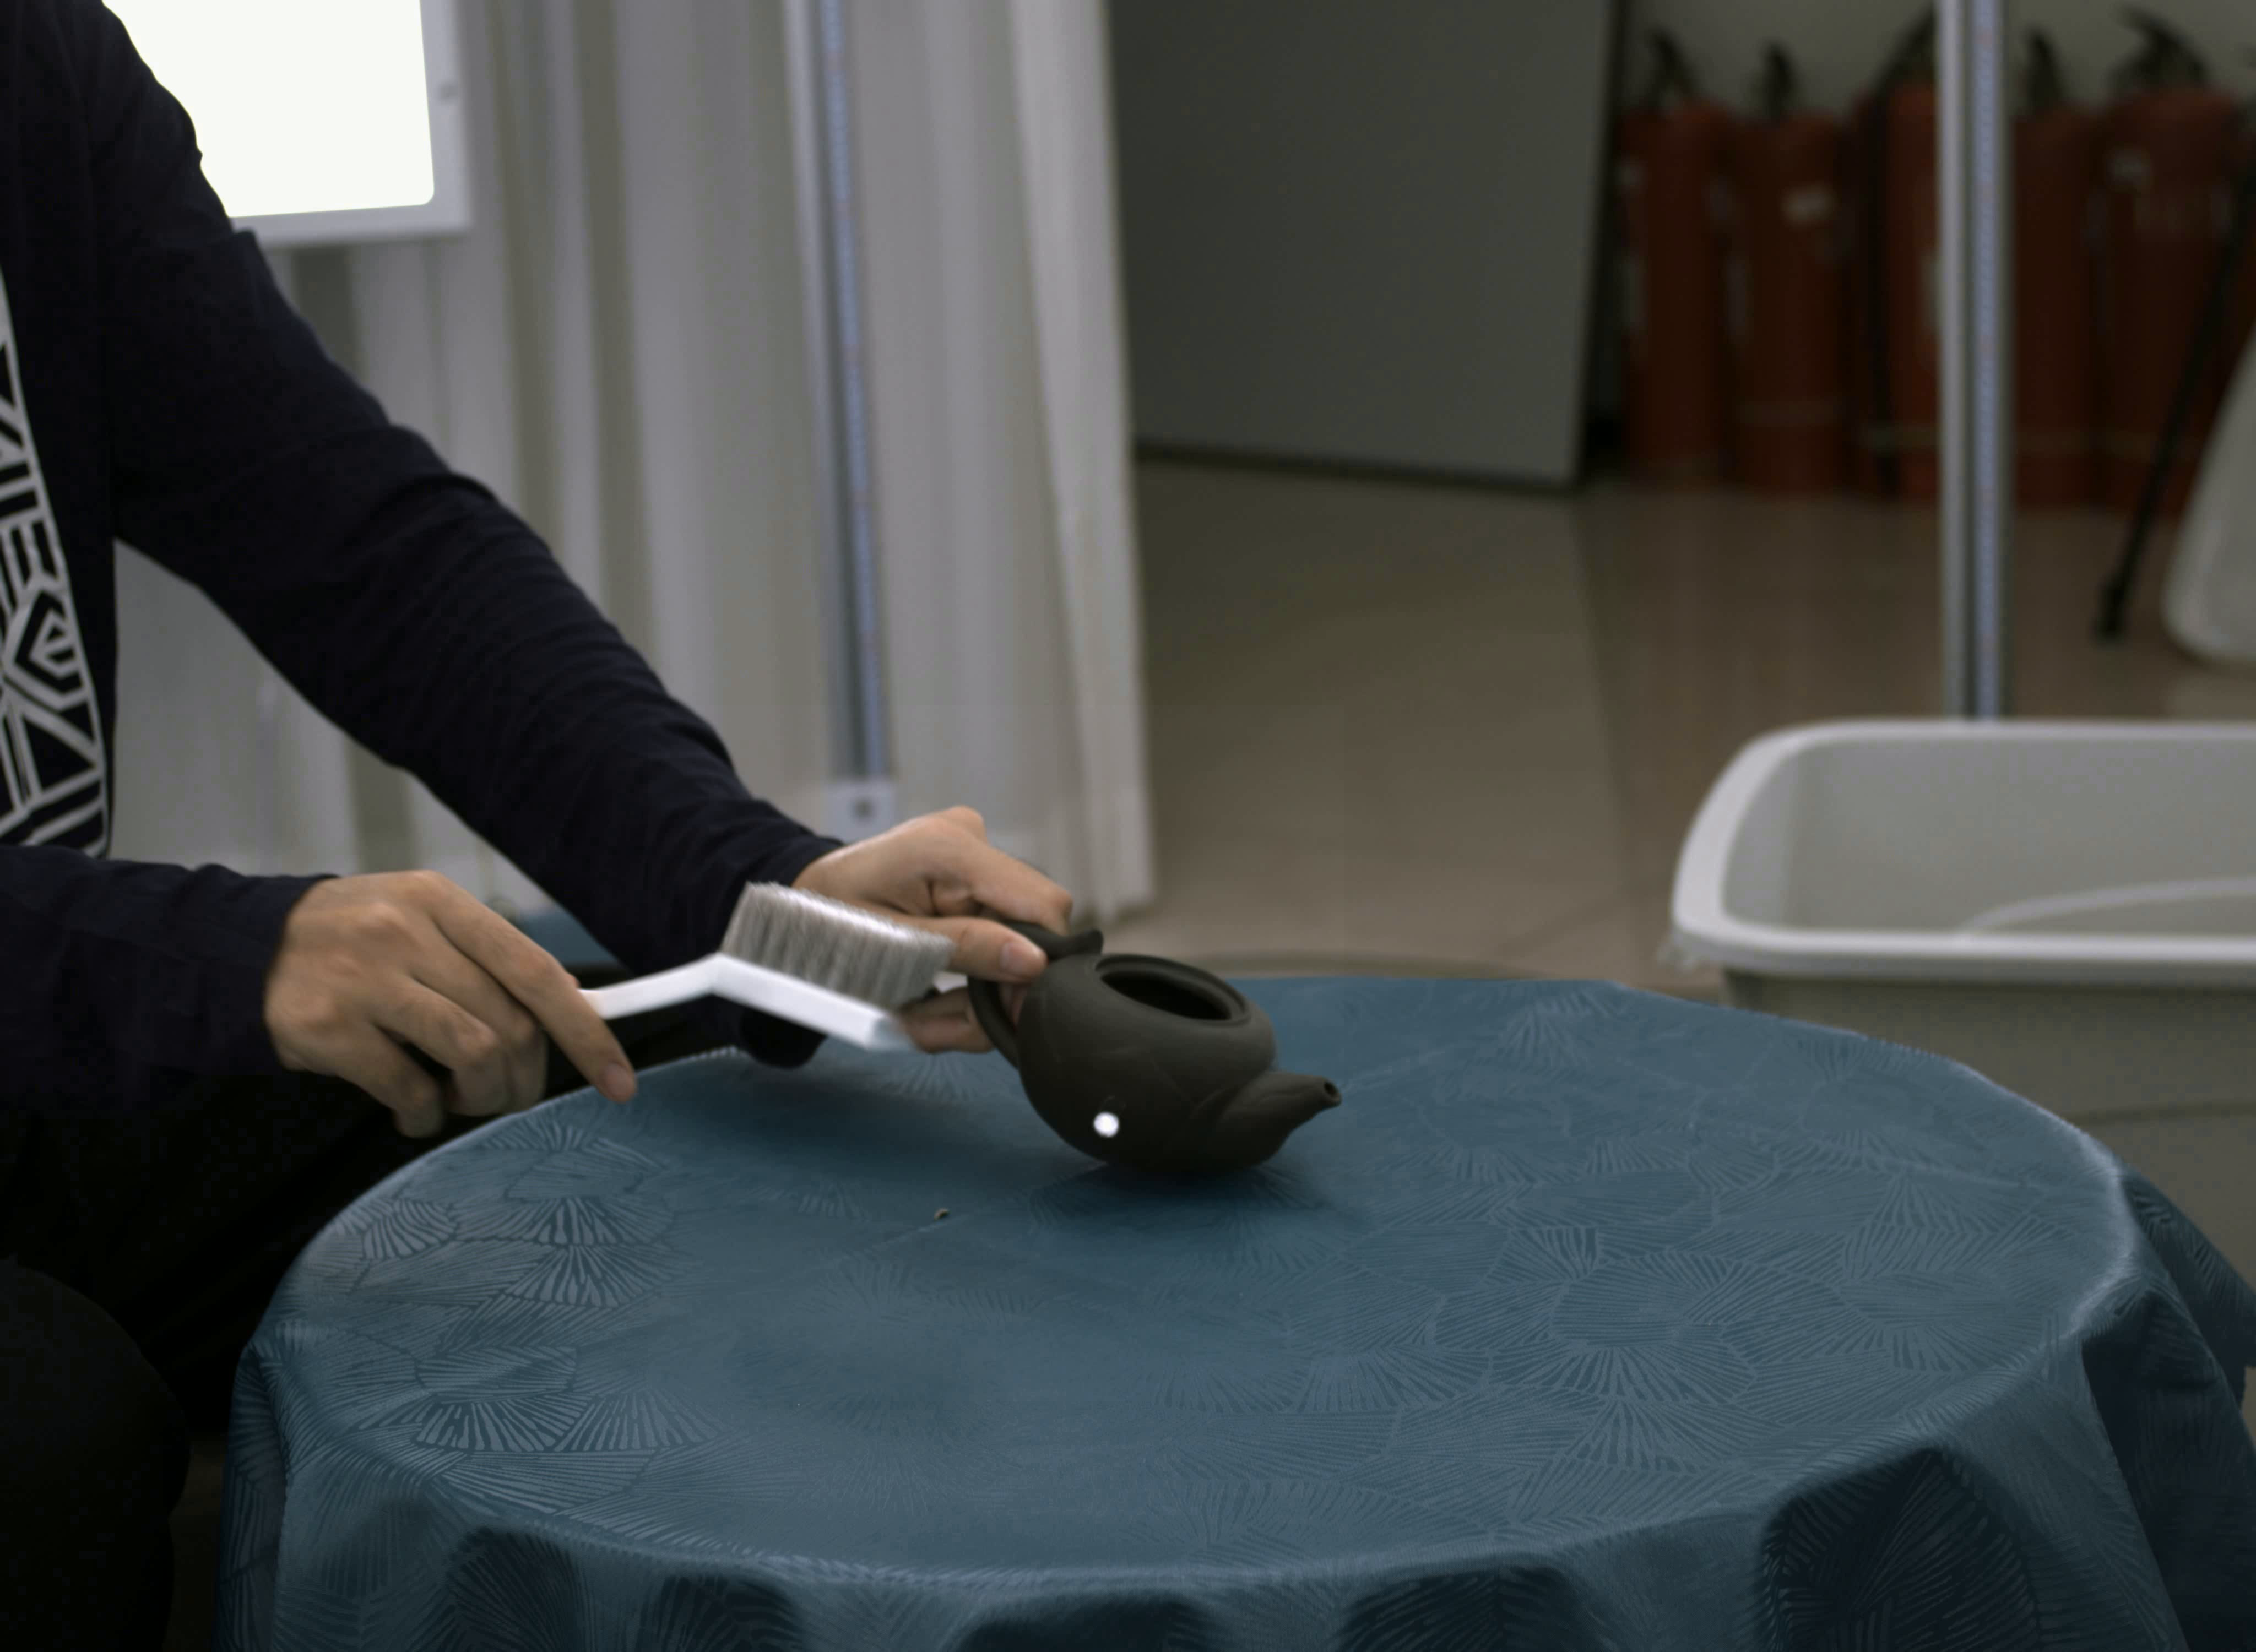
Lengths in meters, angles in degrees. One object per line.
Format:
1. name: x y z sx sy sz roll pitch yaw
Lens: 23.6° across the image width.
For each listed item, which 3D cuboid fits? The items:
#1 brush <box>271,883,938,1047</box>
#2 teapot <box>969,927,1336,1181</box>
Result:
1. brush: -0.169 0.044 1.702 0.244 0.051 0.034 -2 1 29
2. teapot: 0.004 0.078 1.793 0.155 0.065 0.090 27 19 34
